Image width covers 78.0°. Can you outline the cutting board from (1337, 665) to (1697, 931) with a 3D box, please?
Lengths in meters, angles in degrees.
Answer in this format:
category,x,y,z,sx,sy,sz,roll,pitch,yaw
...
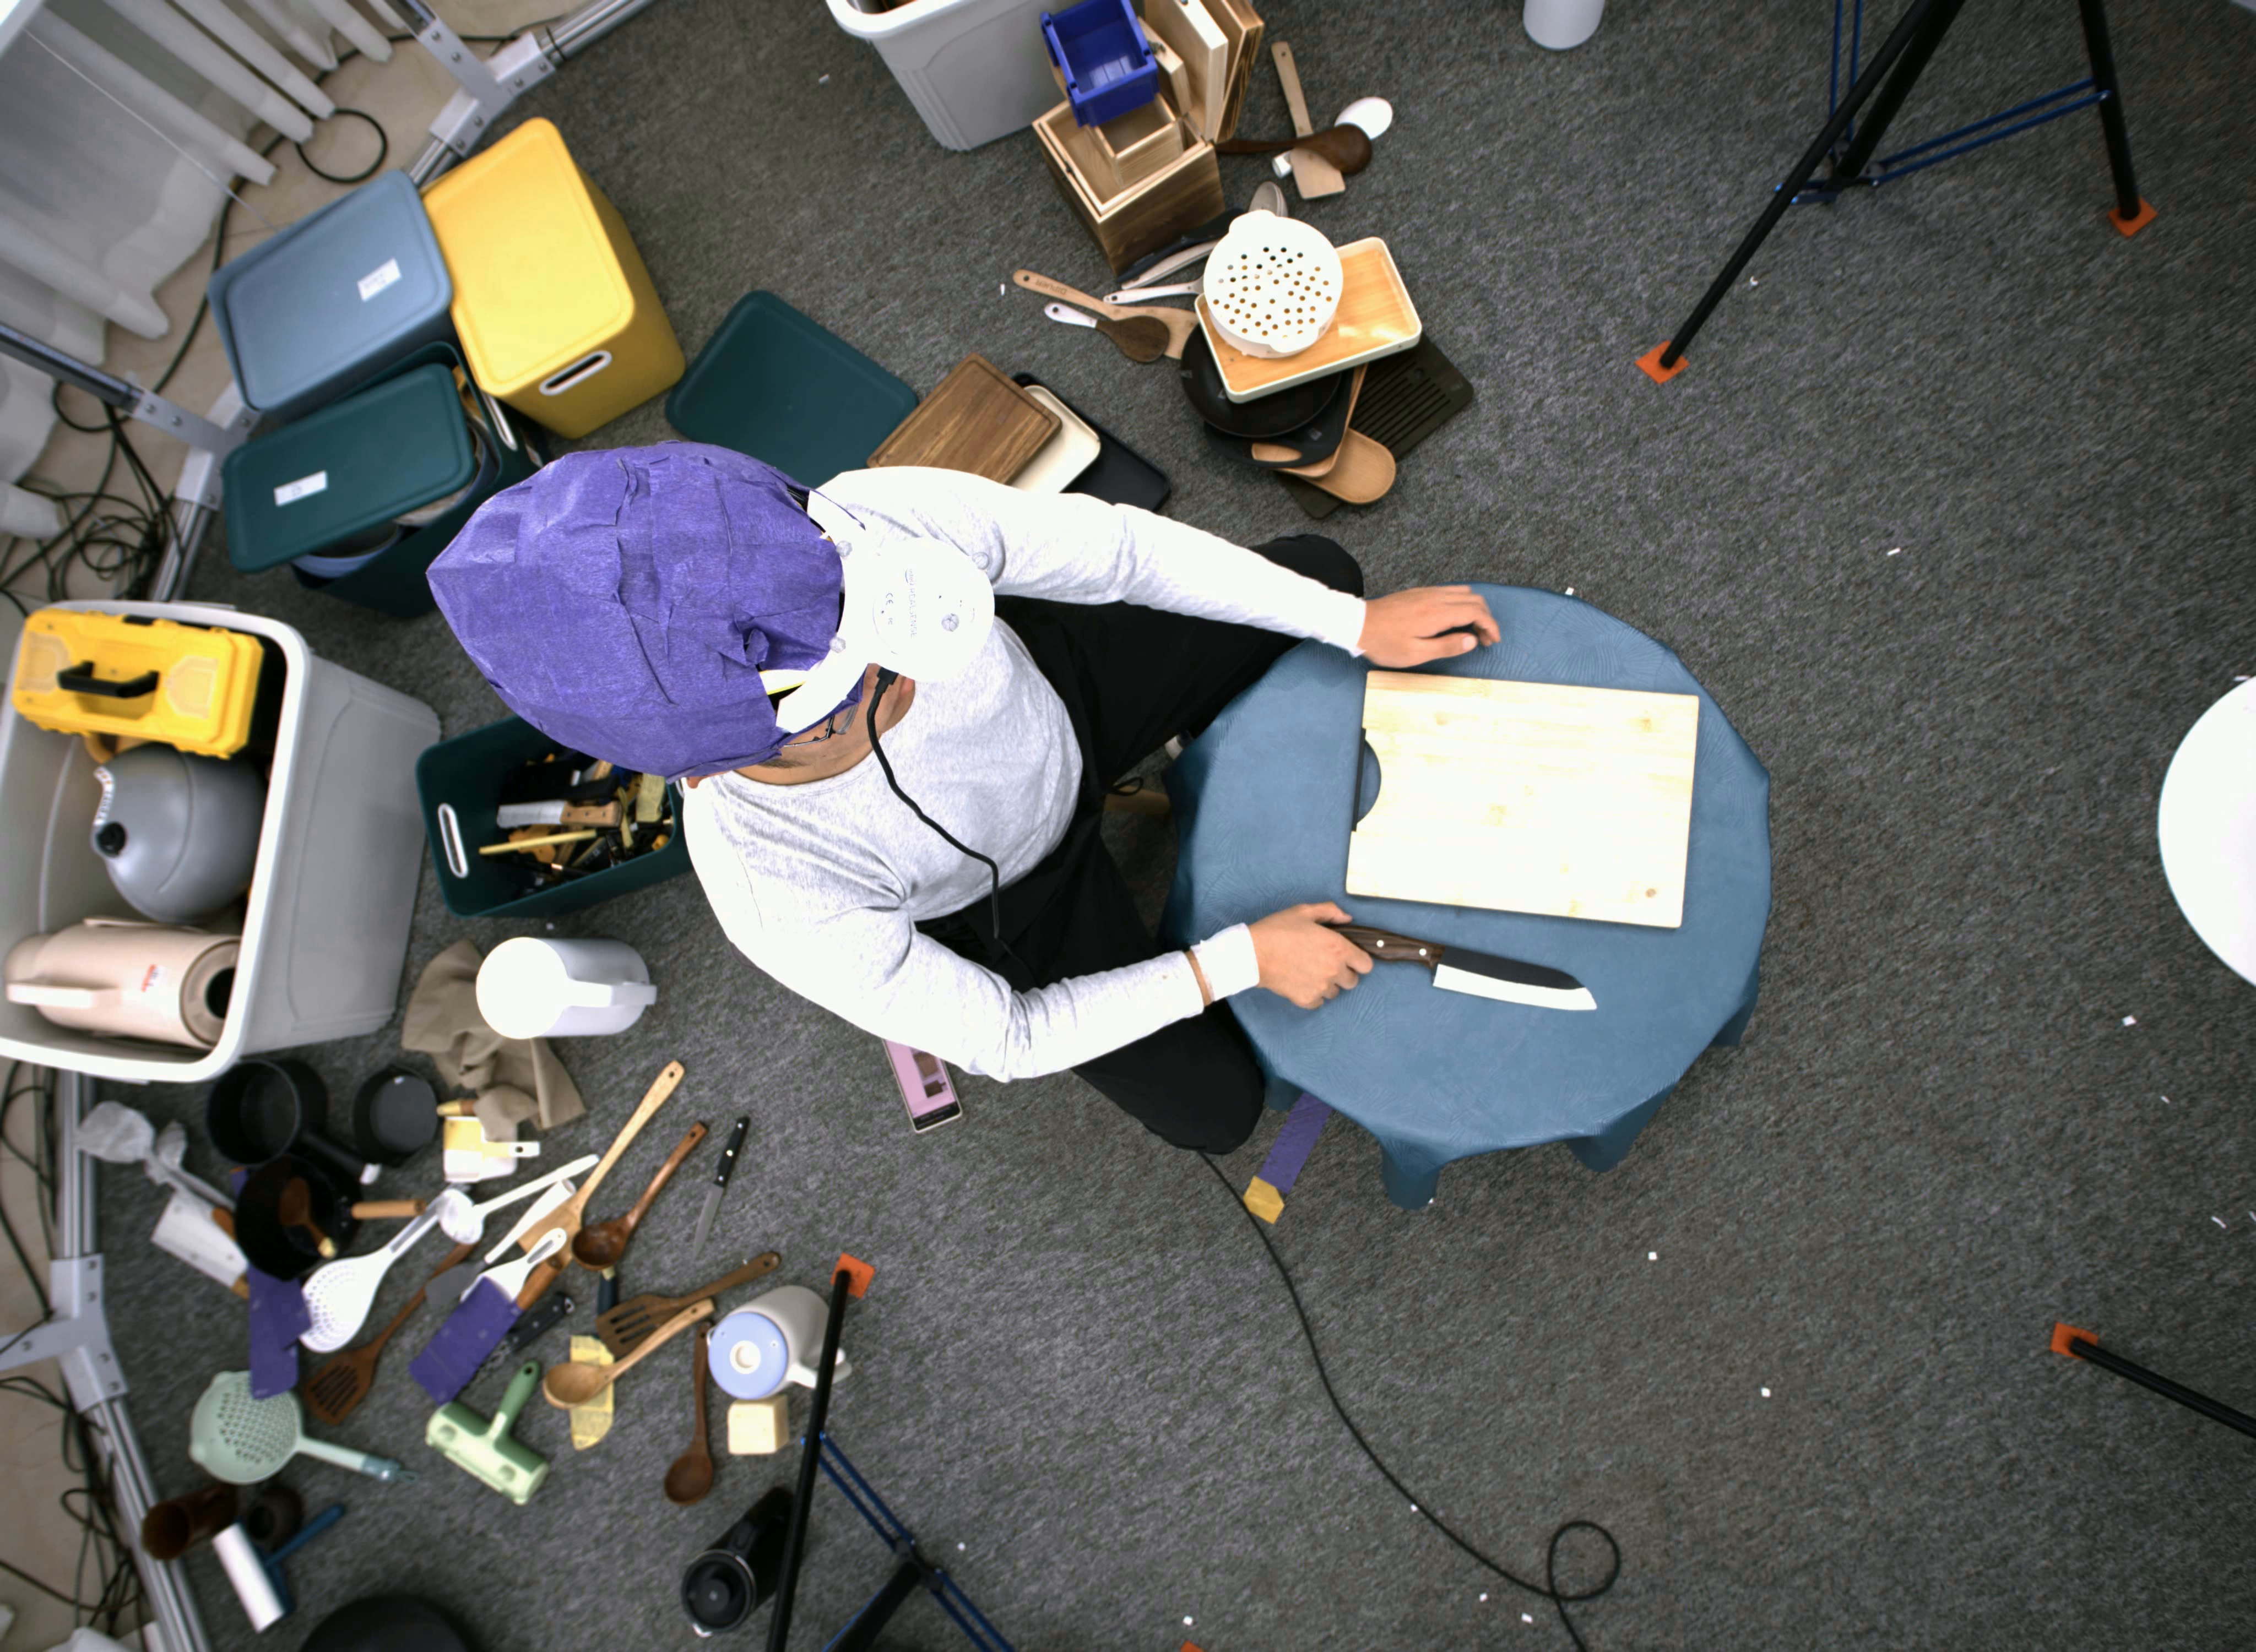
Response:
category,x,y,z,sx,sy,sz,roll,pitch,yaw
cutting board,0.403,-0.034,1.433,0.350,0.023,0.250,5,87,11

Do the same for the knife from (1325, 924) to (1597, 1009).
category,x,y,z,sx,sy,sz,roll,pitch,yaw
knife,0.345,0.145,1.435,0.289,0.020,0.050,14,94,9
